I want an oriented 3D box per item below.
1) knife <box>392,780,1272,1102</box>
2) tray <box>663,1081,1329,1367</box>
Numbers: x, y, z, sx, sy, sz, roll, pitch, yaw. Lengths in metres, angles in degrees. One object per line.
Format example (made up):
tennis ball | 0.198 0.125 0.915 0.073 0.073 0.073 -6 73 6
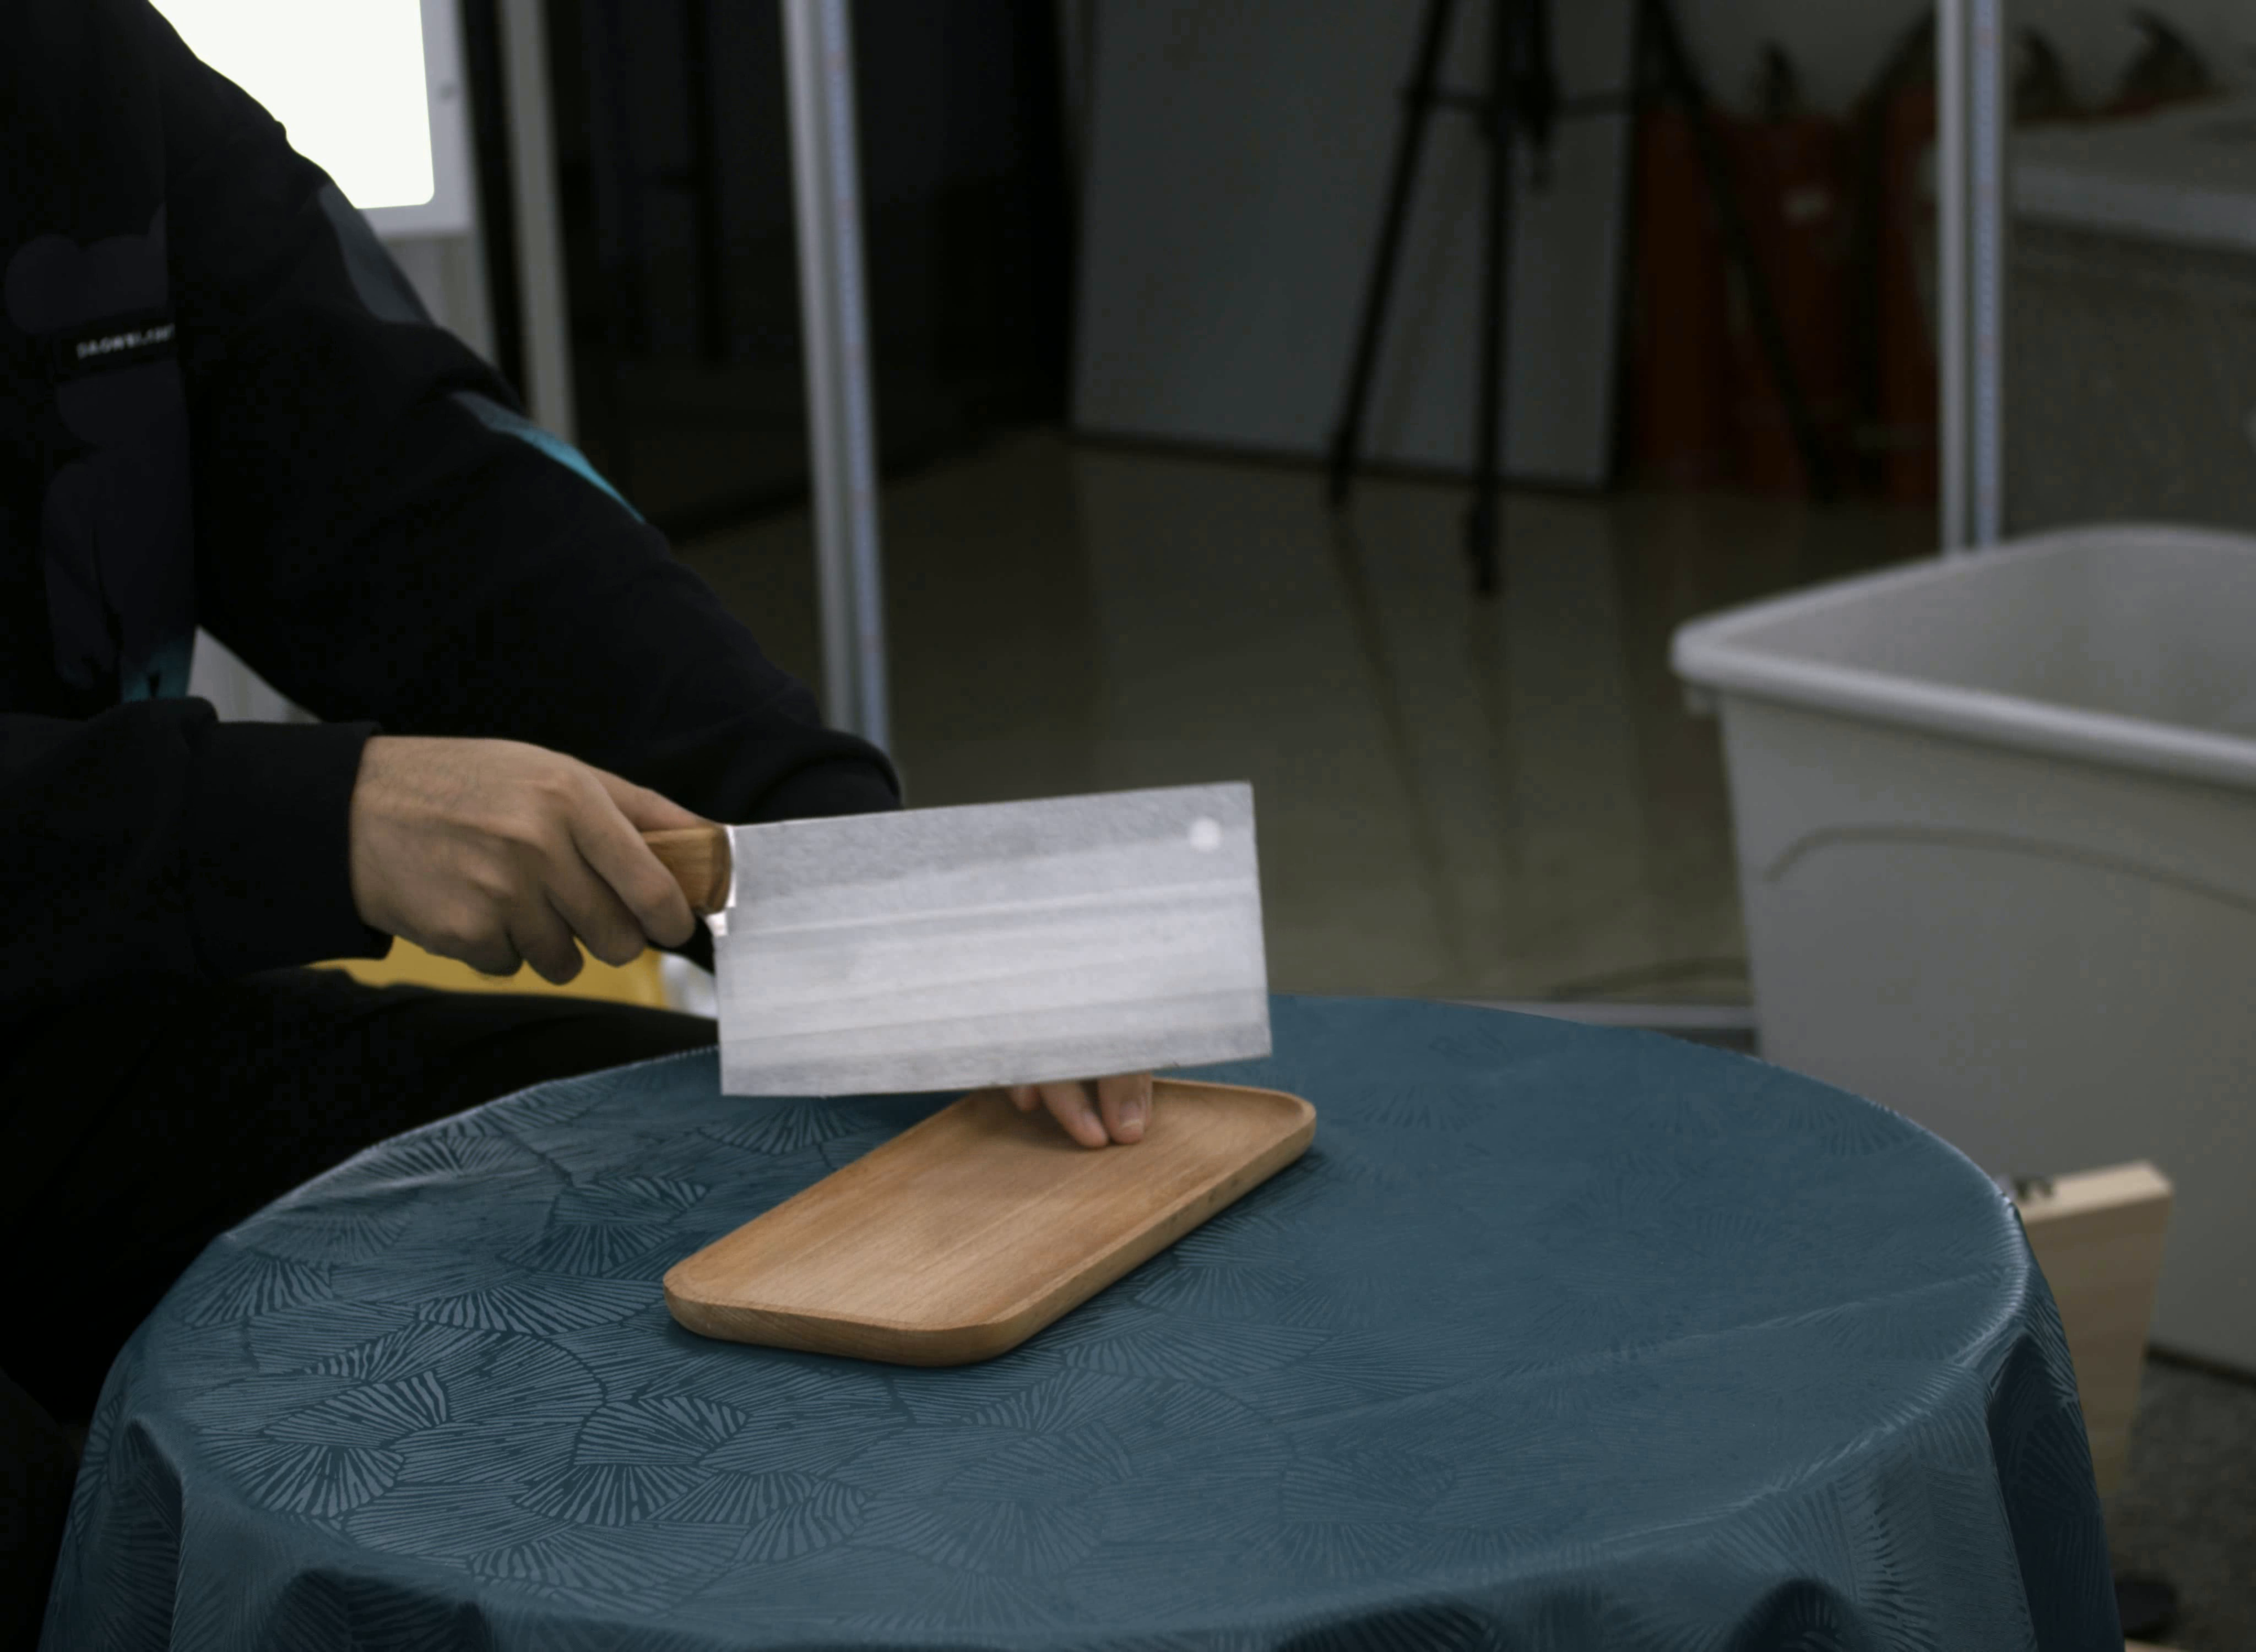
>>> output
knife | -0.099 0.042 1.769 0.305 0.094 0.021 -5 -1 19
tray | -0.038 0.125 1.734 0.131 0.023 0.247 6 16 30
